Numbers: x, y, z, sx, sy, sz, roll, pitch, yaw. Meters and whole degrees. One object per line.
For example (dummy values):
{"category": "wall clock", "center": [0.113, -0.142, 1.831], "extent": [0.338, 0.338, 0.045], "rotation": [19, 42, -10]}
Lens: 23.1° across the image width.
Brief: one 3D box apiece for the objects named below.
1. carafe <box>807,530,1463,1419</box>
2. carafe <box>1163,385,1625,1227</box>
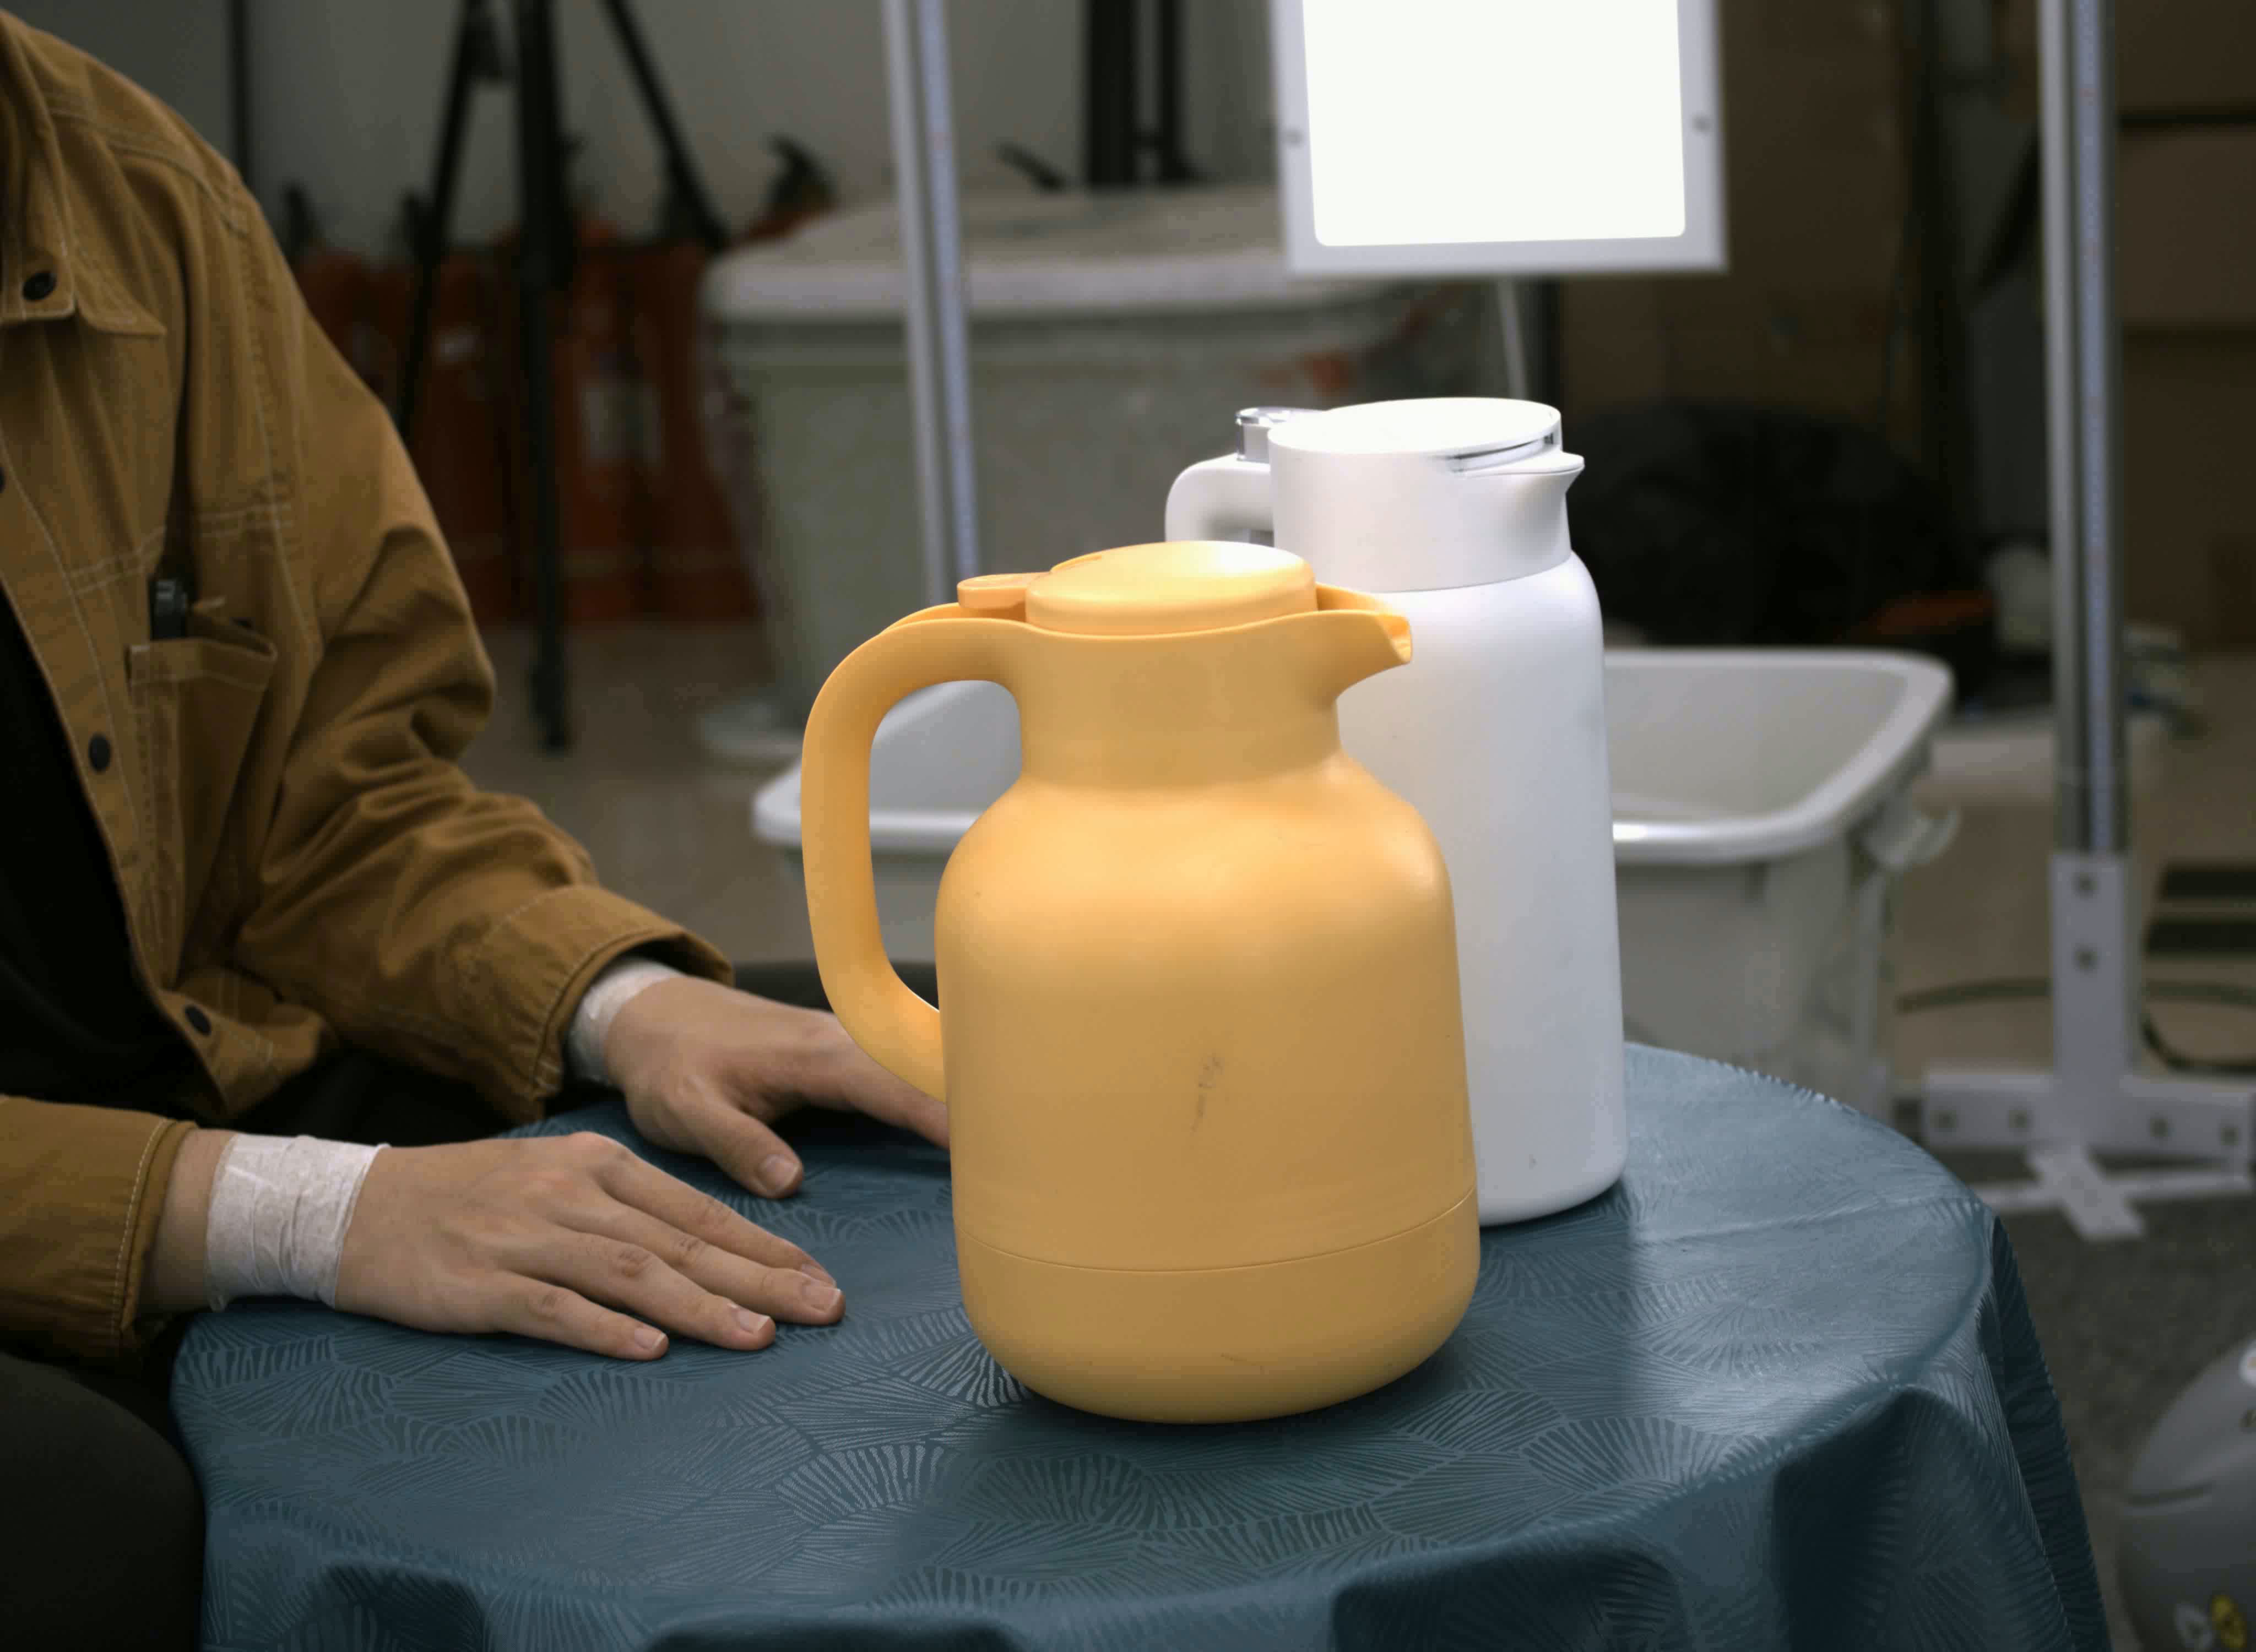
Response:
{"category": "carafe", "center": [0.002, 0.040, 1.692], "extent": [0.205, 0.261, 0.160], "rotation": [2, 12, 20]}
{"category": "carafe", "center": [0.089, -0.009, 1.853], "extent": [0.176, 0.270, 0.121], "rotation": [8, 21, 42]}
